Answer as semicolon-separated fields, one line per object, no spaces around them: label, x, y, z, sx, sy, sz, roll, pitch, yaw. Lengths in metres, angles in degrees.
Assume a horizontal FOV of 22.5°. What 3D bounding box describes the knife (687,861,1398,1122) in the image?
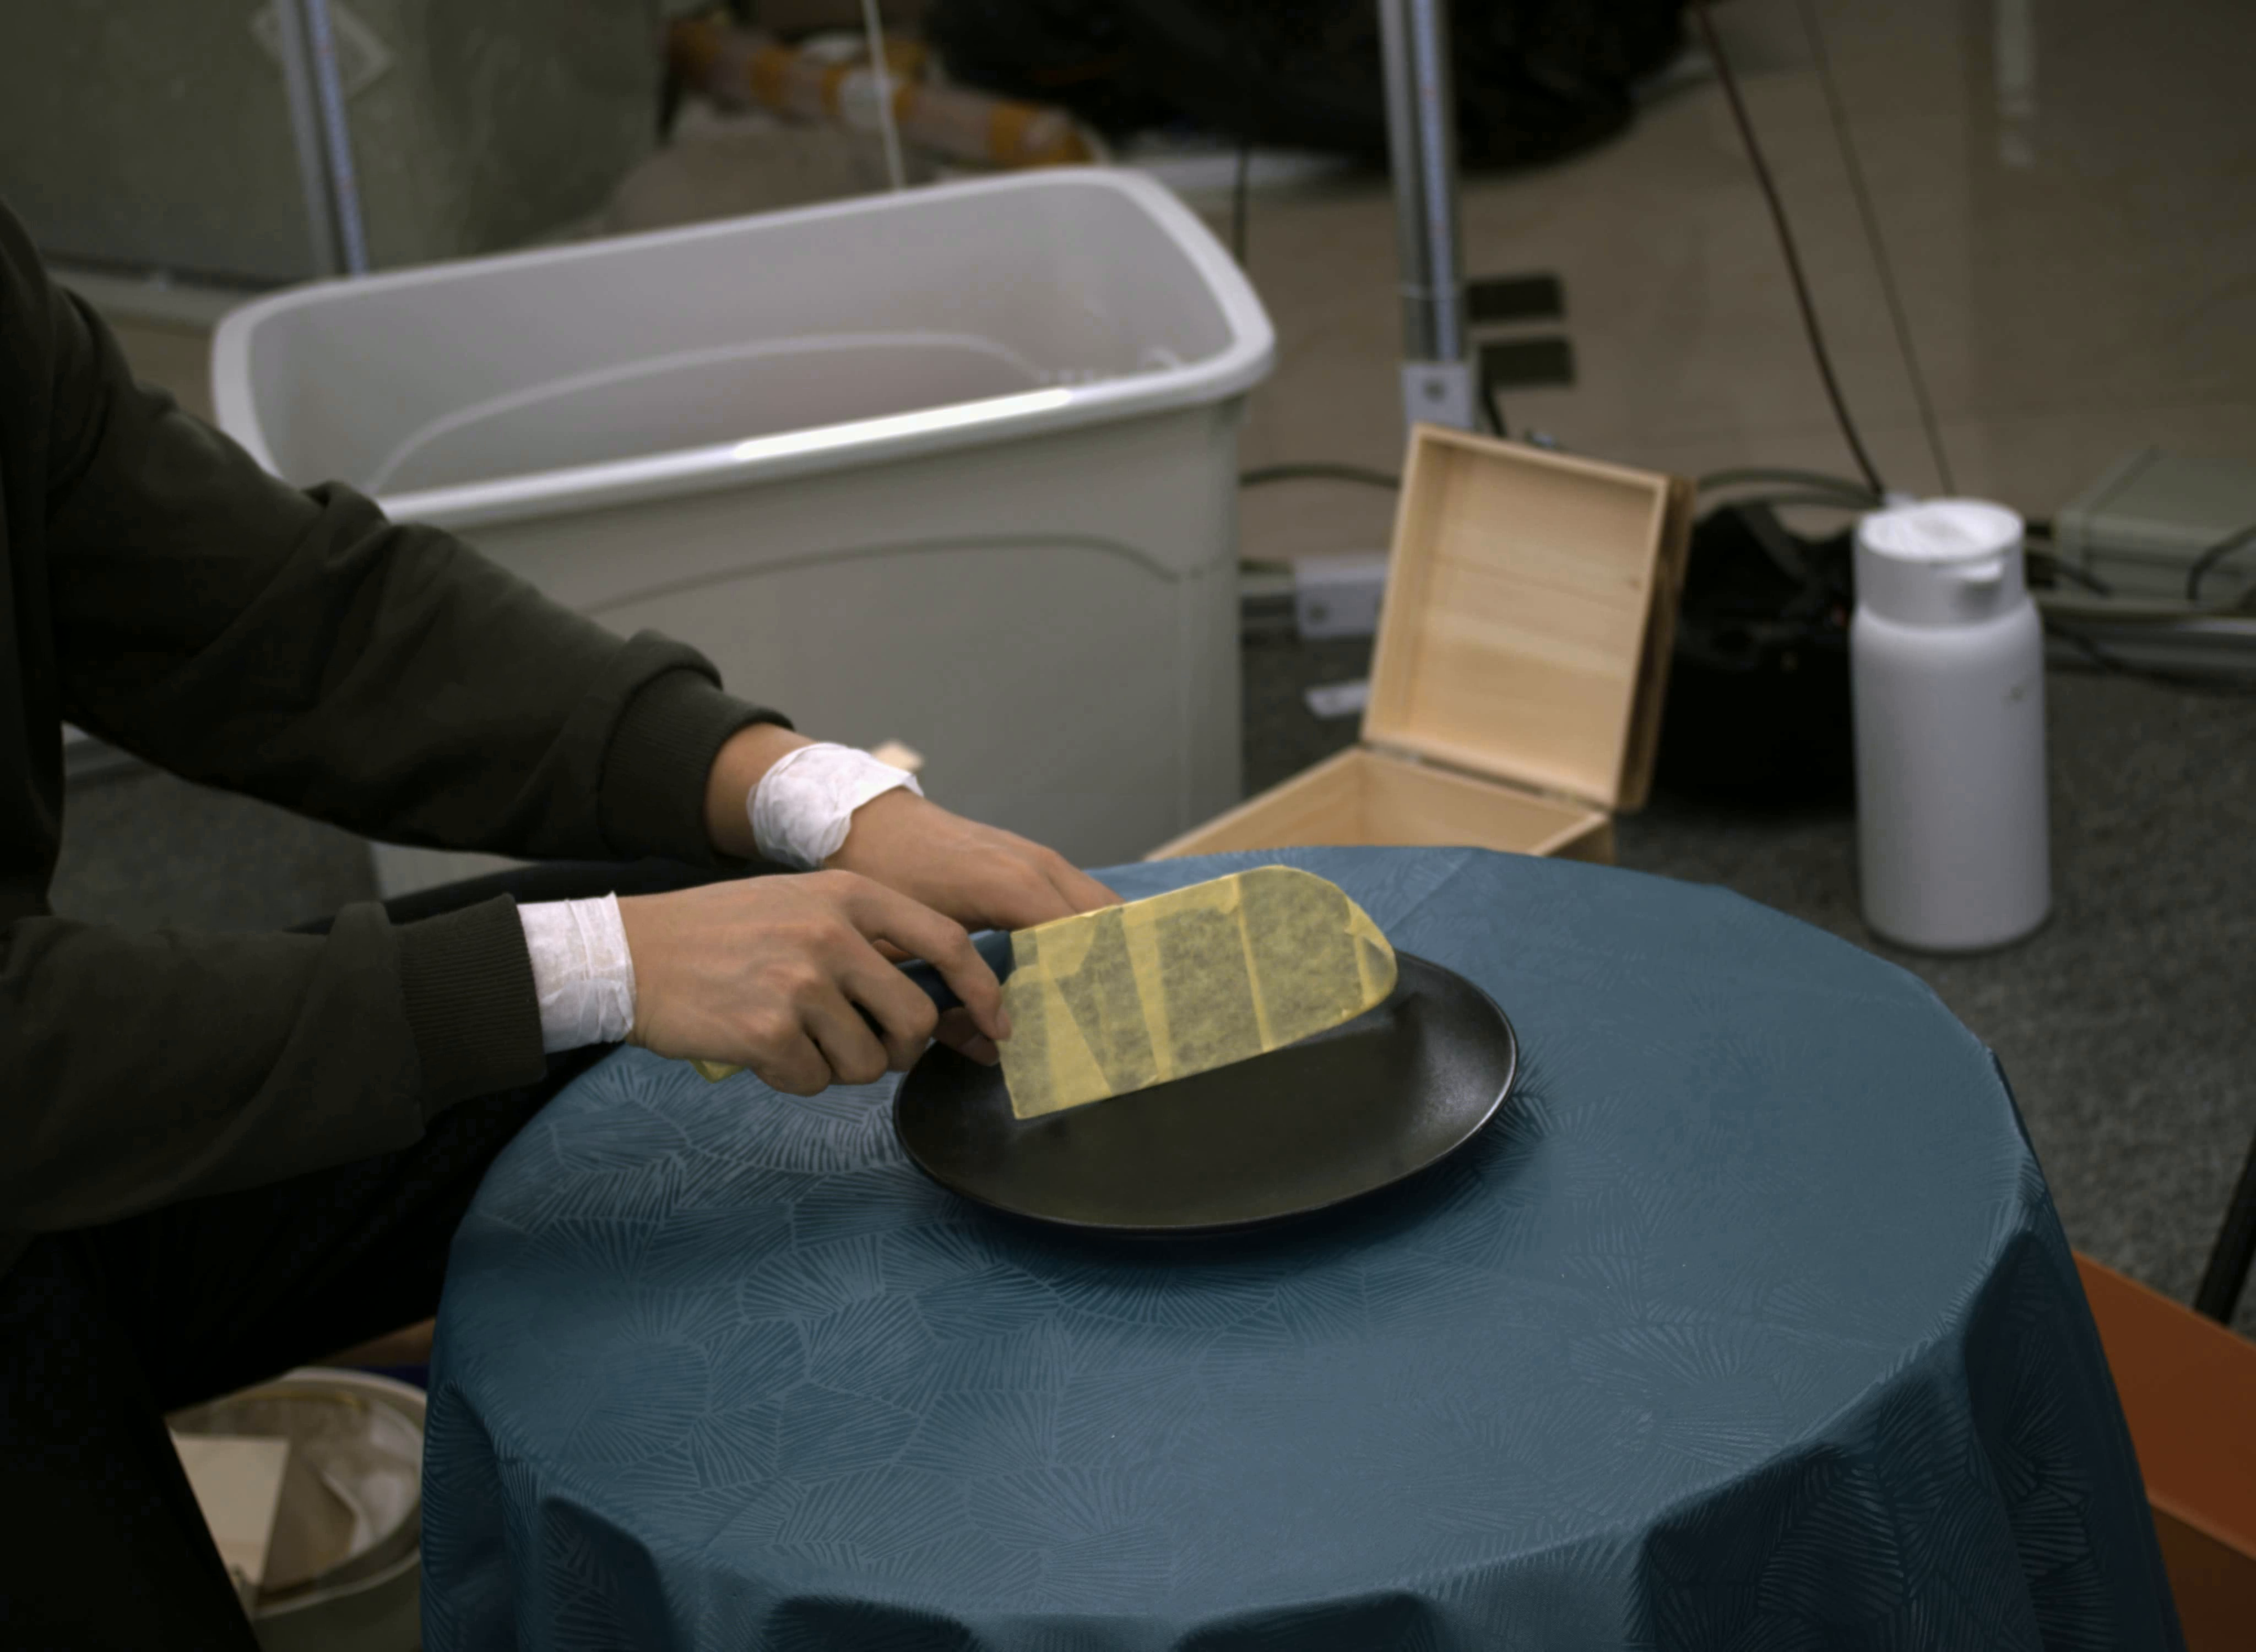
knife;-0.029;0.072;2.194;0.288;0.081;0.027;-11;6;-16

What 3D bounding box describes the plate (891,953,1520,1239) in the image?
plate;0.031;0.106;2.187;0.244;0.024;0.241;-5;25;3
